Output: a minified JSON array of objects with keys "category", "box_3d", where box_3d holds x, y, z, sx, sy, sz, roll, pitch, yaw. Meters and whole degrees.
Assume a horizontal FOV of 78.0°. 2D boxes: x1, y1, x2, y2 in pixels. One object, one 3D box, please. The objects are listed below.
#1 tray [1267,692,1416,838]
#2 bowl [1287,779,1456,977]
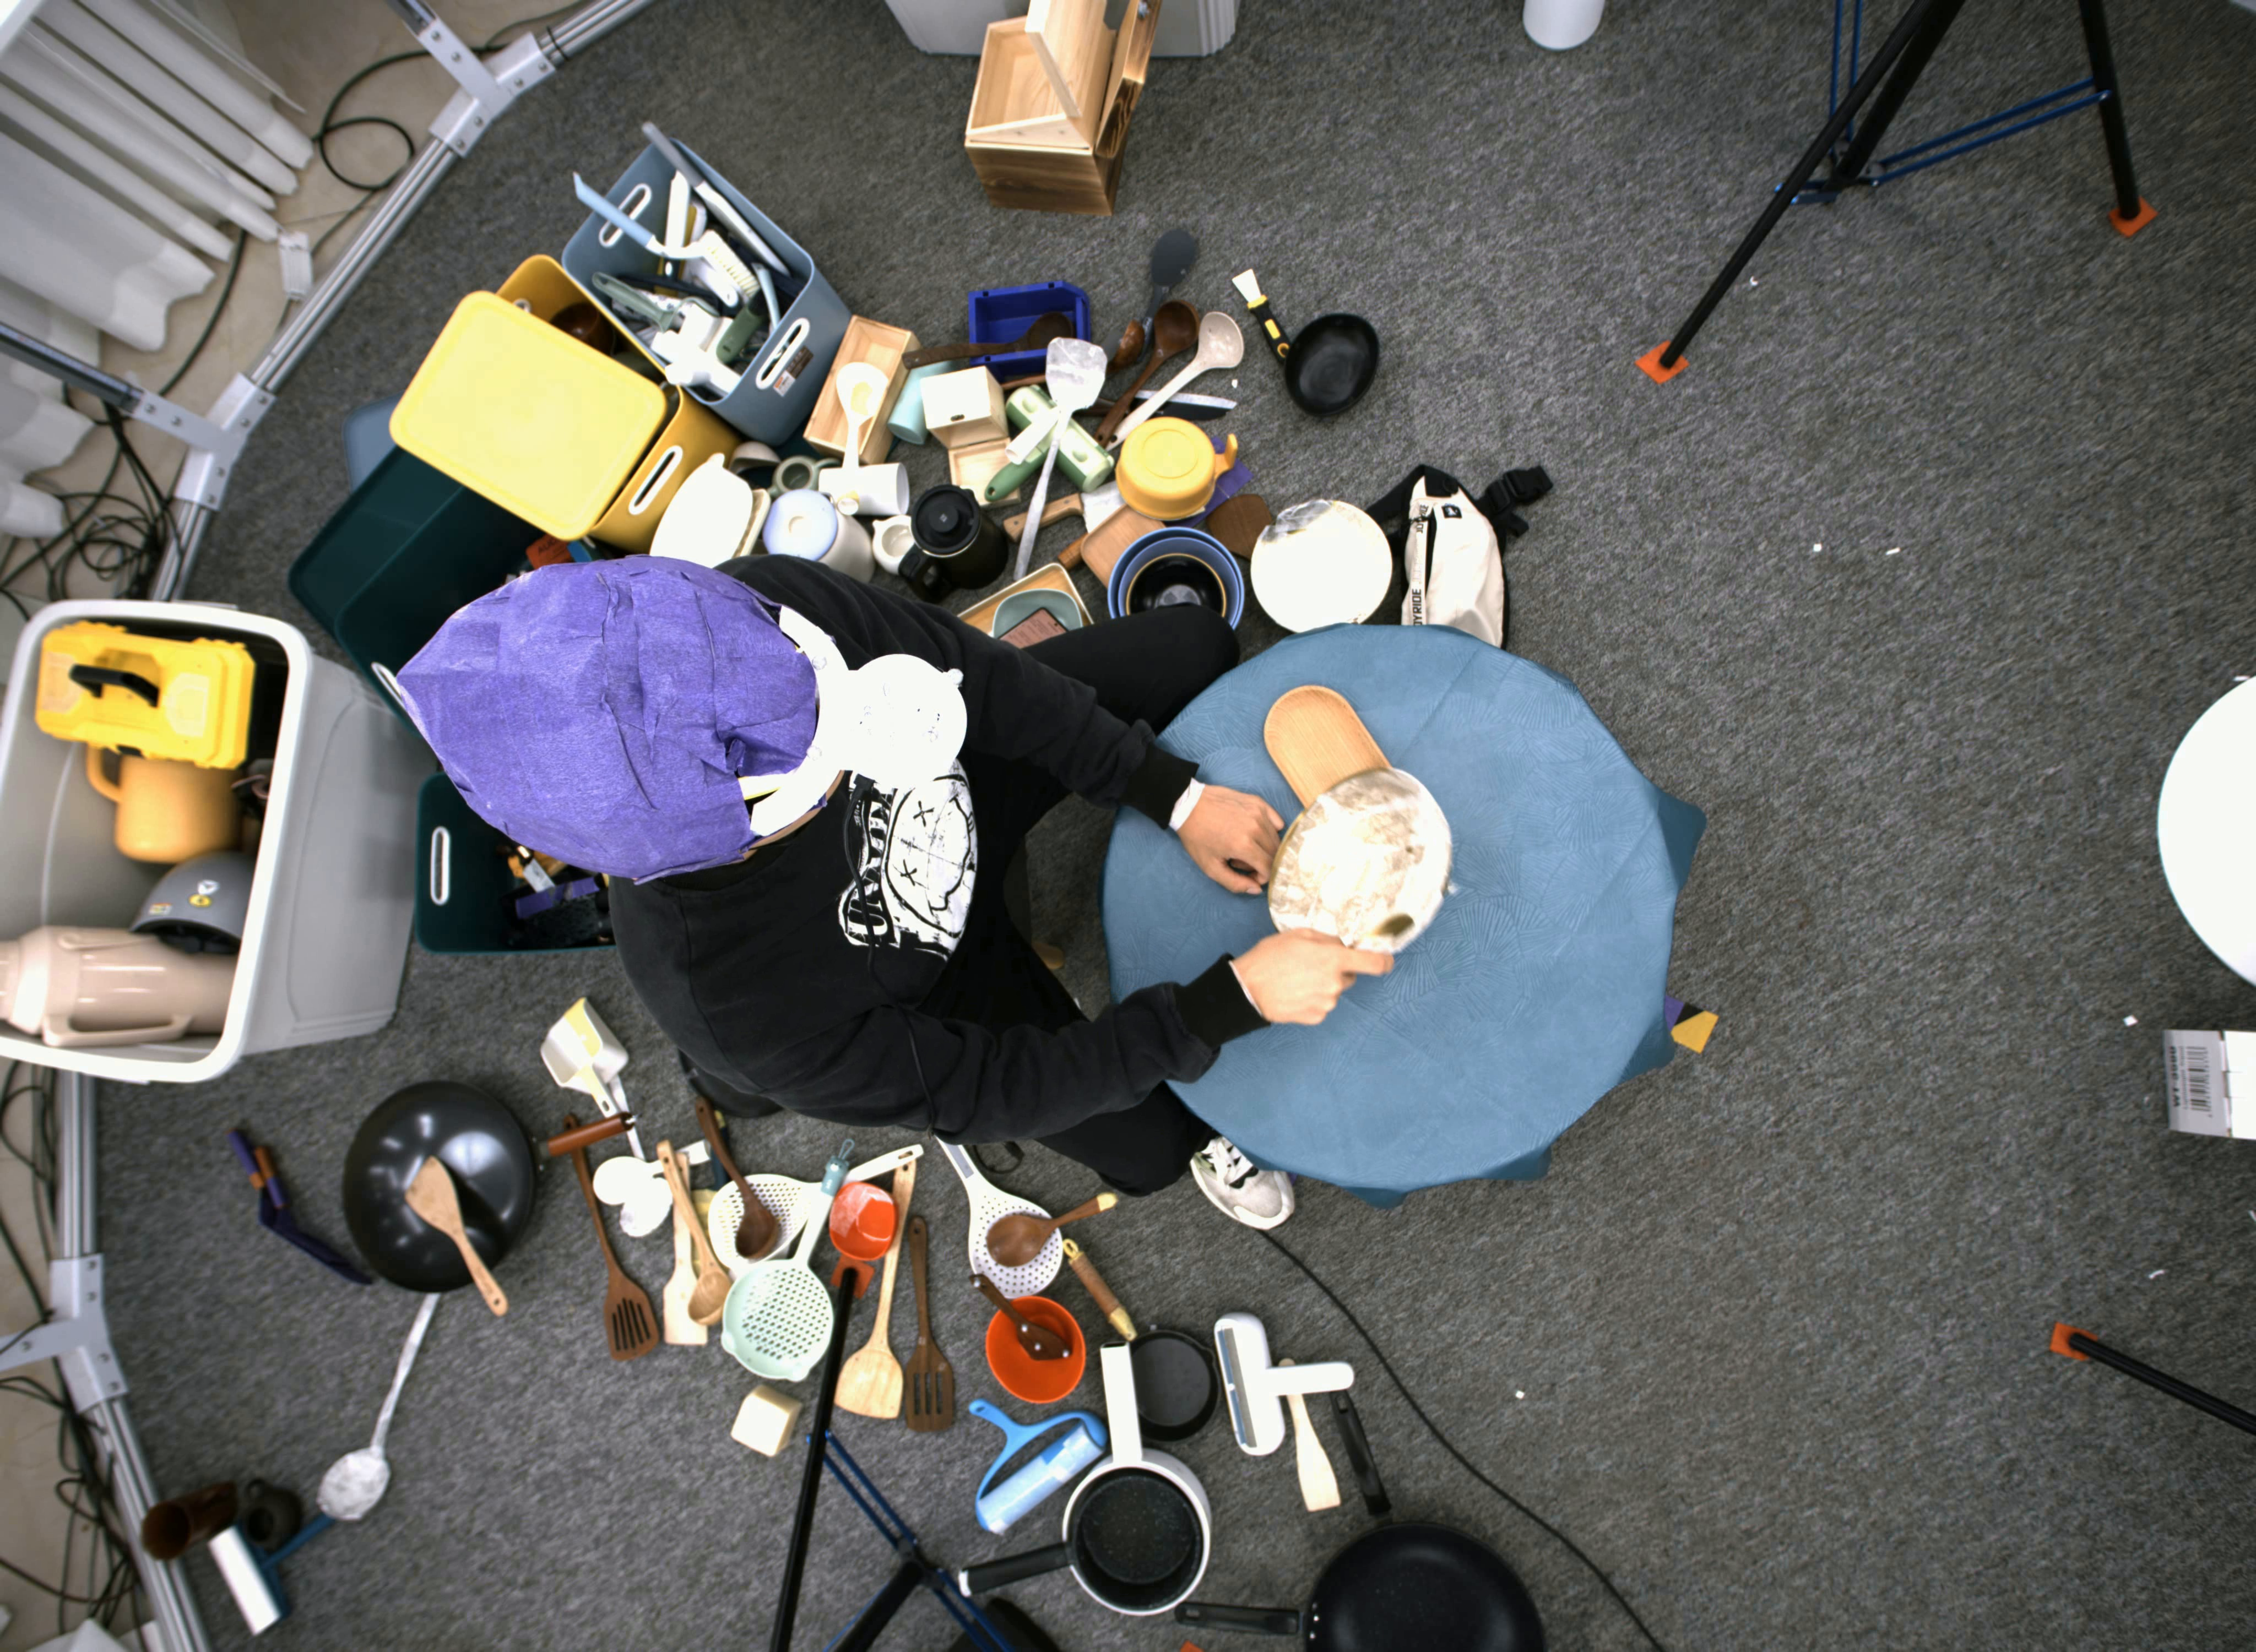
[{"category":"tray","box_3d":[0.237,-0.041,1.471,0.102,0.020,0.230,-35,83,8]},{"category":"bowl","box_3d":[0.254,0.062,1.363,0.095,0.214,0.214,23,88,-20]}]
